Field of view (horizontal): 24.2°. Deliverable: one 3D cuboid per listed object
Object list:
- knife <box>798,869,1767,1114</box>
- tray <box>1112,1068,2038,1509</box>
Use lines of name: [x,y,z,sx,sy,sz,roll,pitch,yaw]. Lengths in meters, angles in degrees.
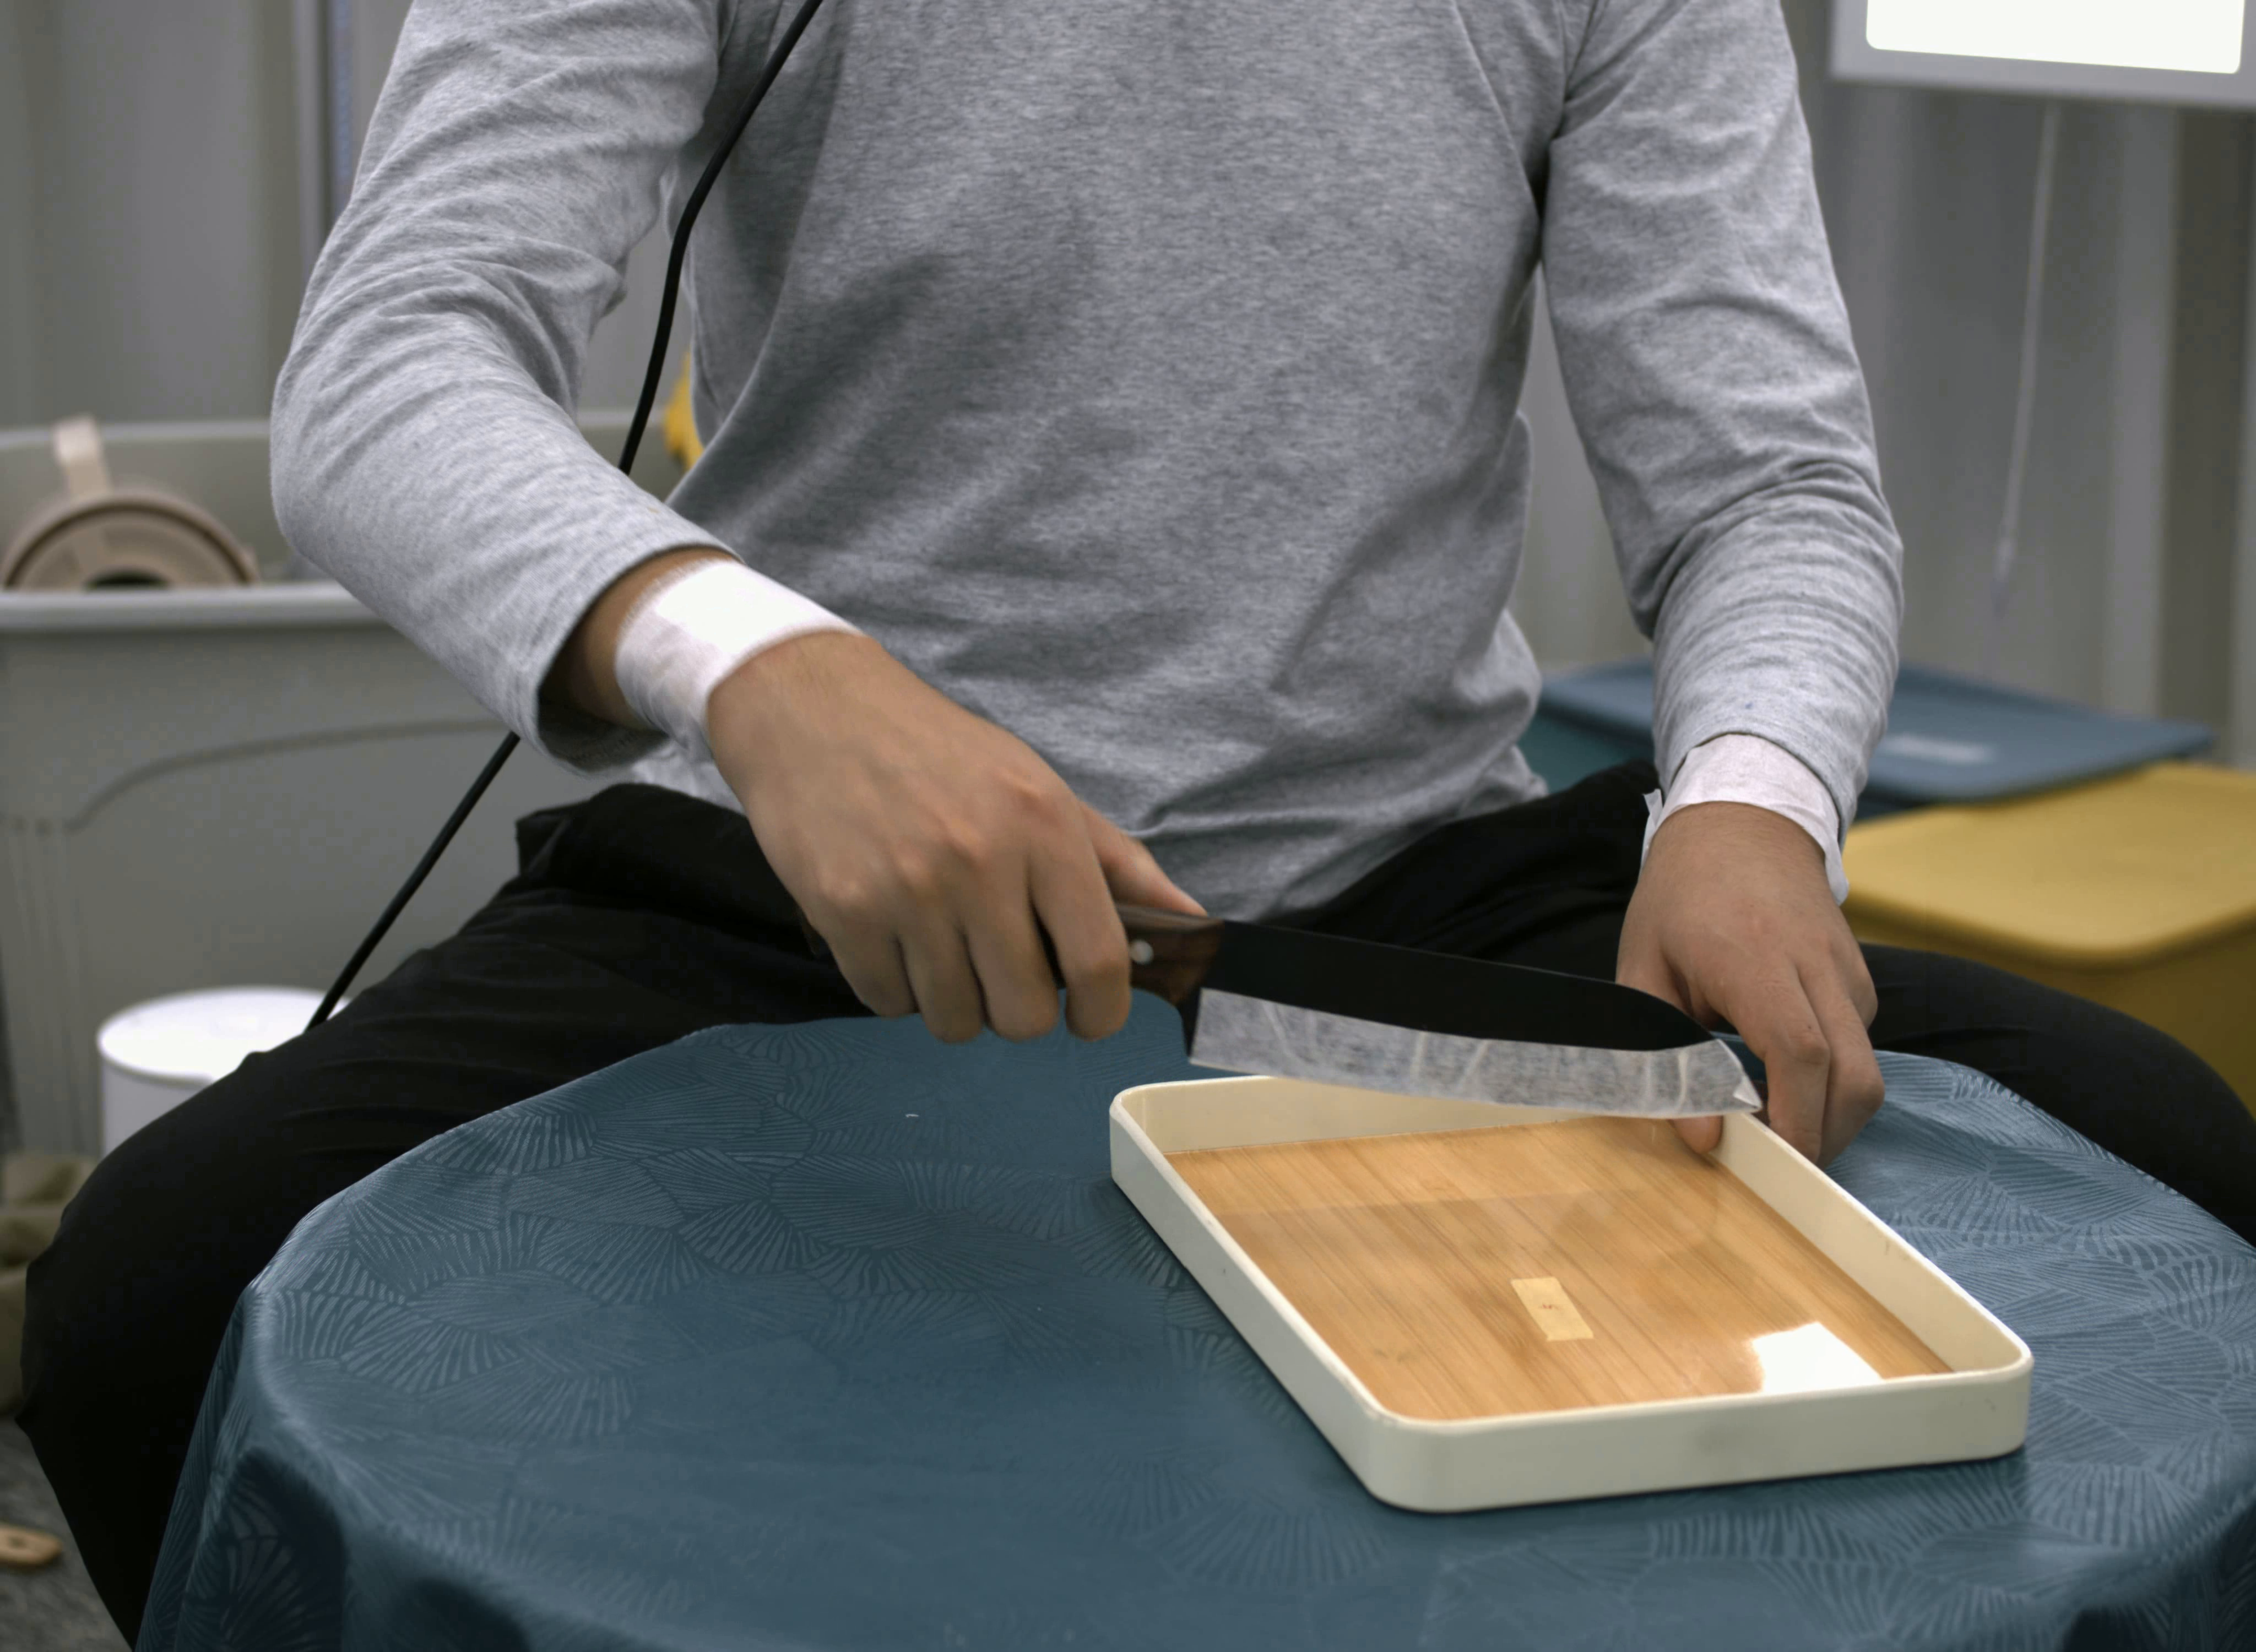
knife: [0.045,0.049,1.531,0.288,0.050,0.020,11,13,0]
tray: [0.121,0.126,1.531,0.192,0.027,0.297,-3,16,-15]
